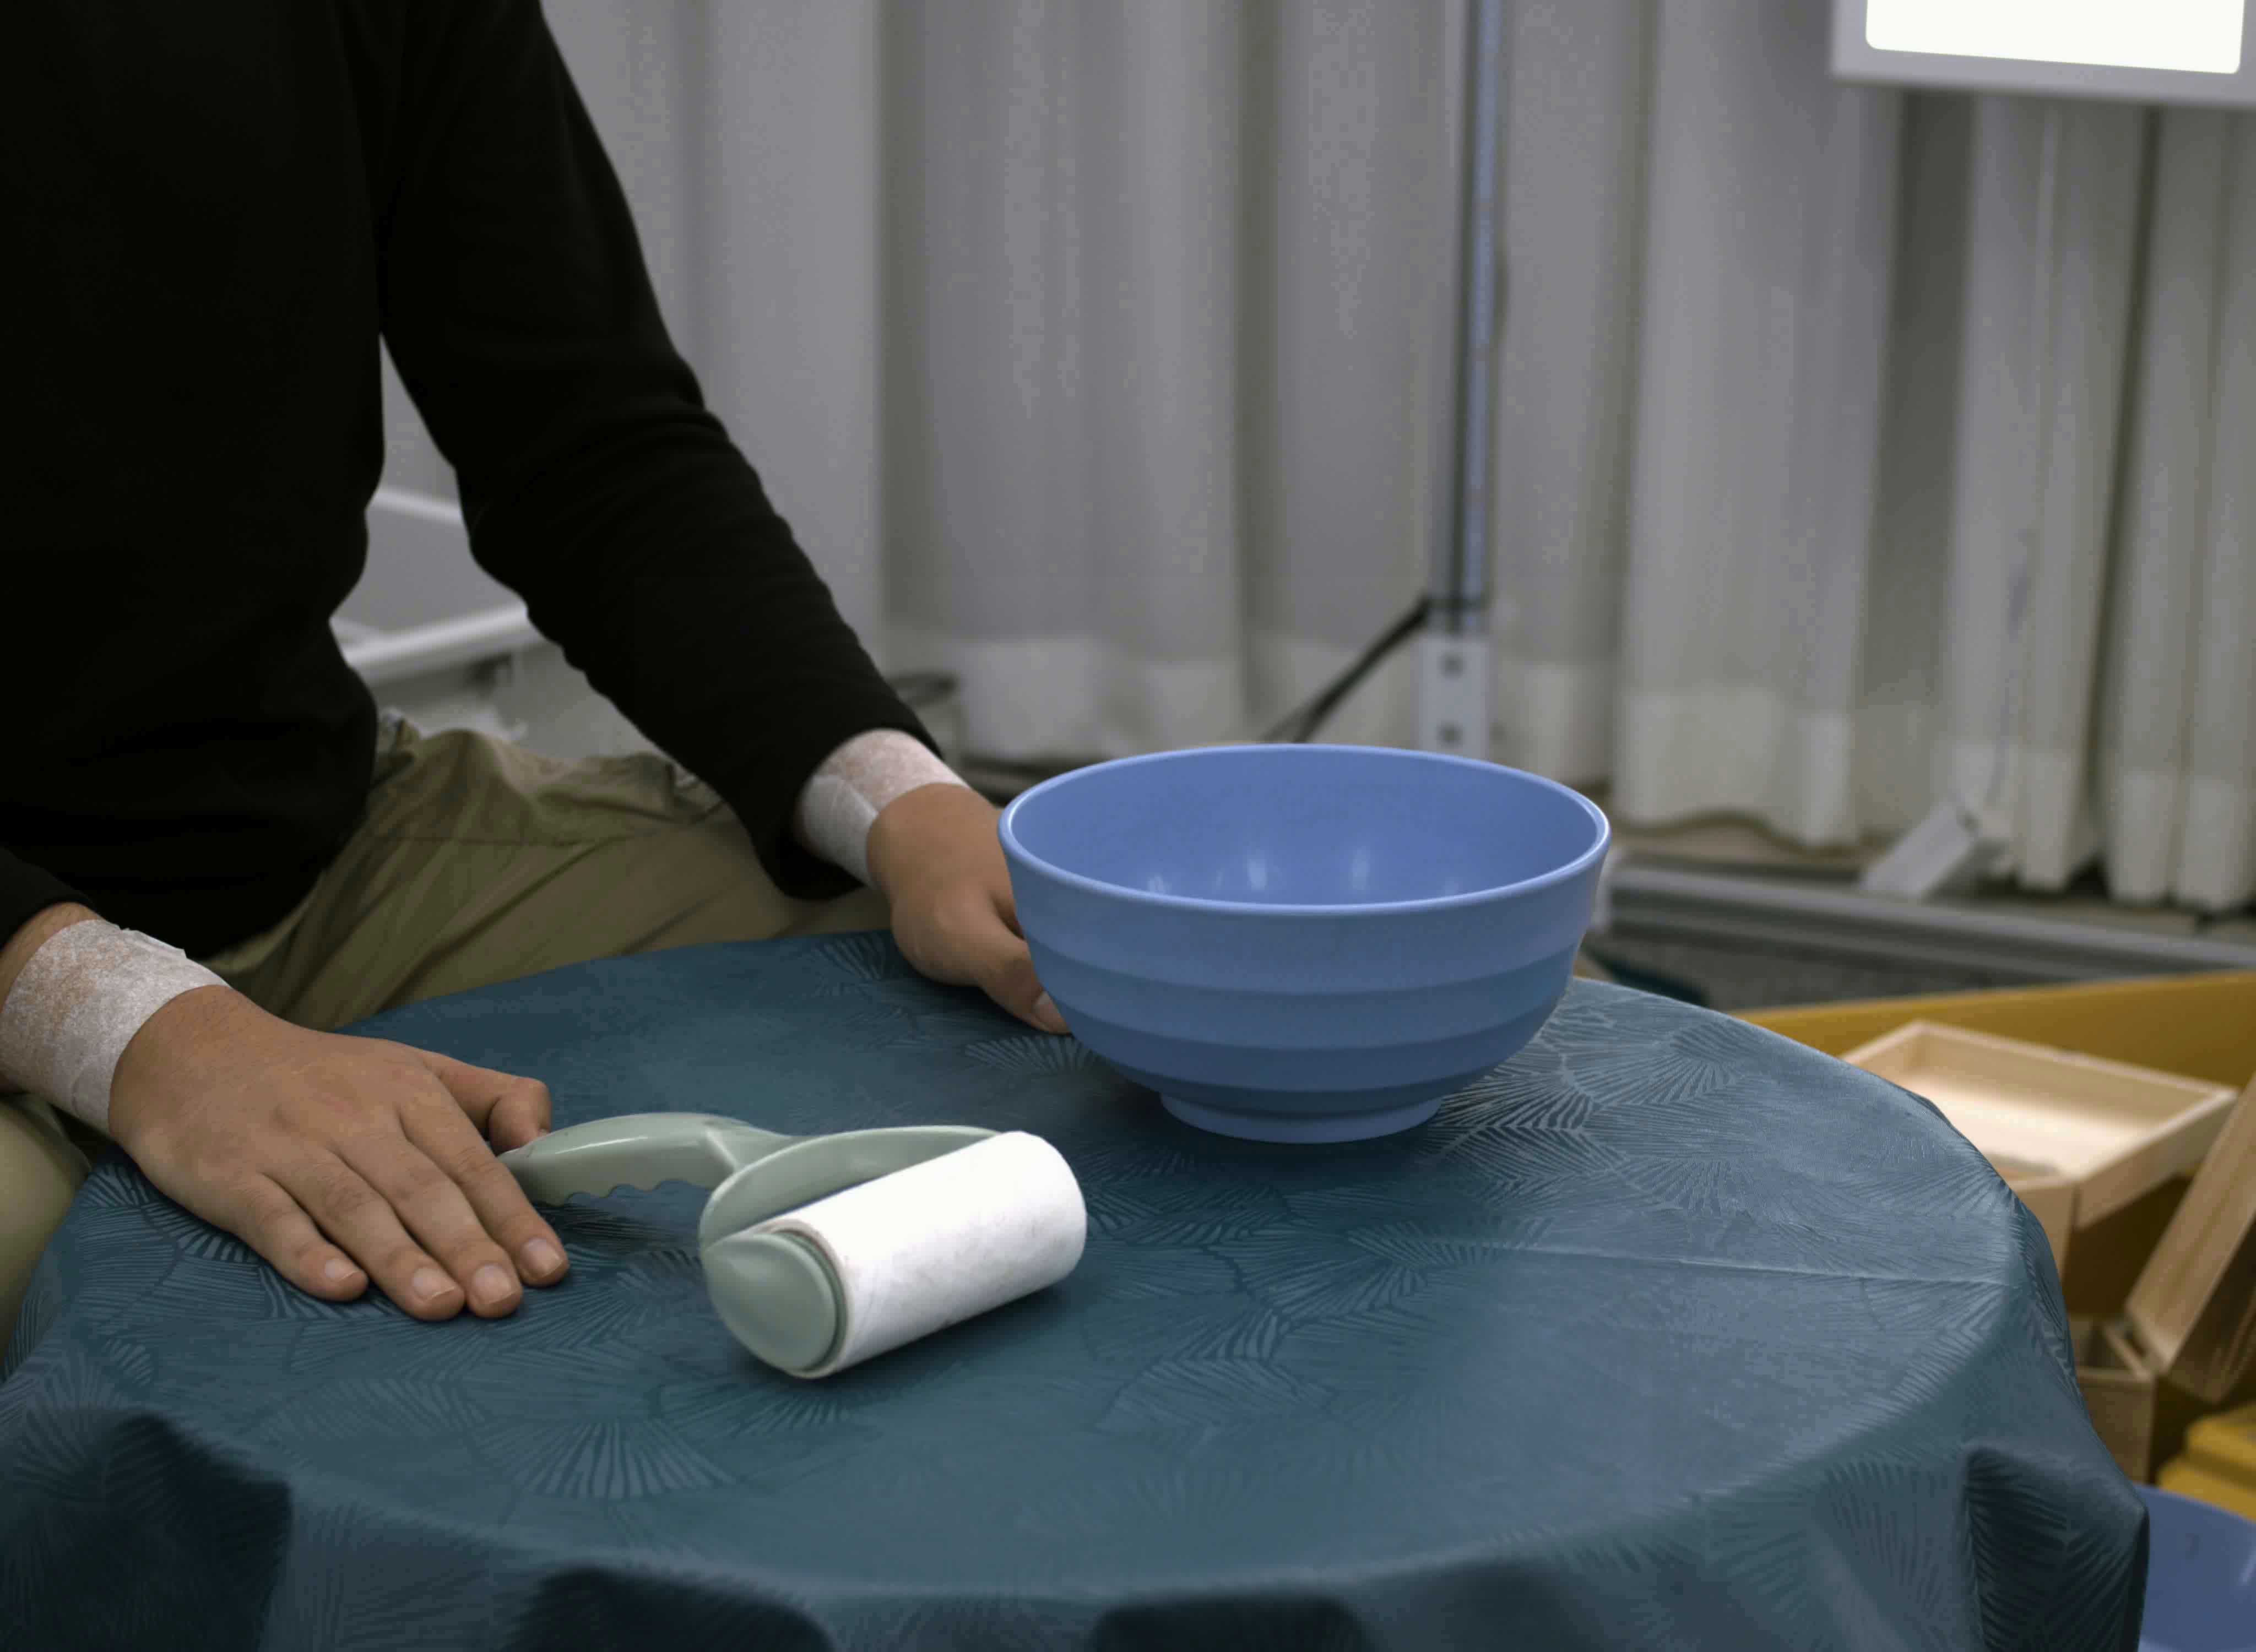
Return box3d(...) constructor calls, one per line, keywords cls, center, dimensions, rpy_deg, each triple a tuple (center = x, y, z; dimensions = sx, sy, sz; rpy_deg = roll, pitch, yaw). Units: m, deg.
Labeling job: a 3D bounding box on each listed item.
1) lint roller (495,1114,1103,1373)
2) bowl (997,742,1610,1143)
box3d(cls="lint roller", center=(-0.112, 0.109, 1.547), dimensions=(0.195, 0.049, 0.117), rpy_deg=(12, 21, 38))
box3d(cls="bowl", center=(0.056, 0.043, 1.694), dimensions=(0.196, 0.096, 0.195), rpy_deg=(0, 16, 1))
